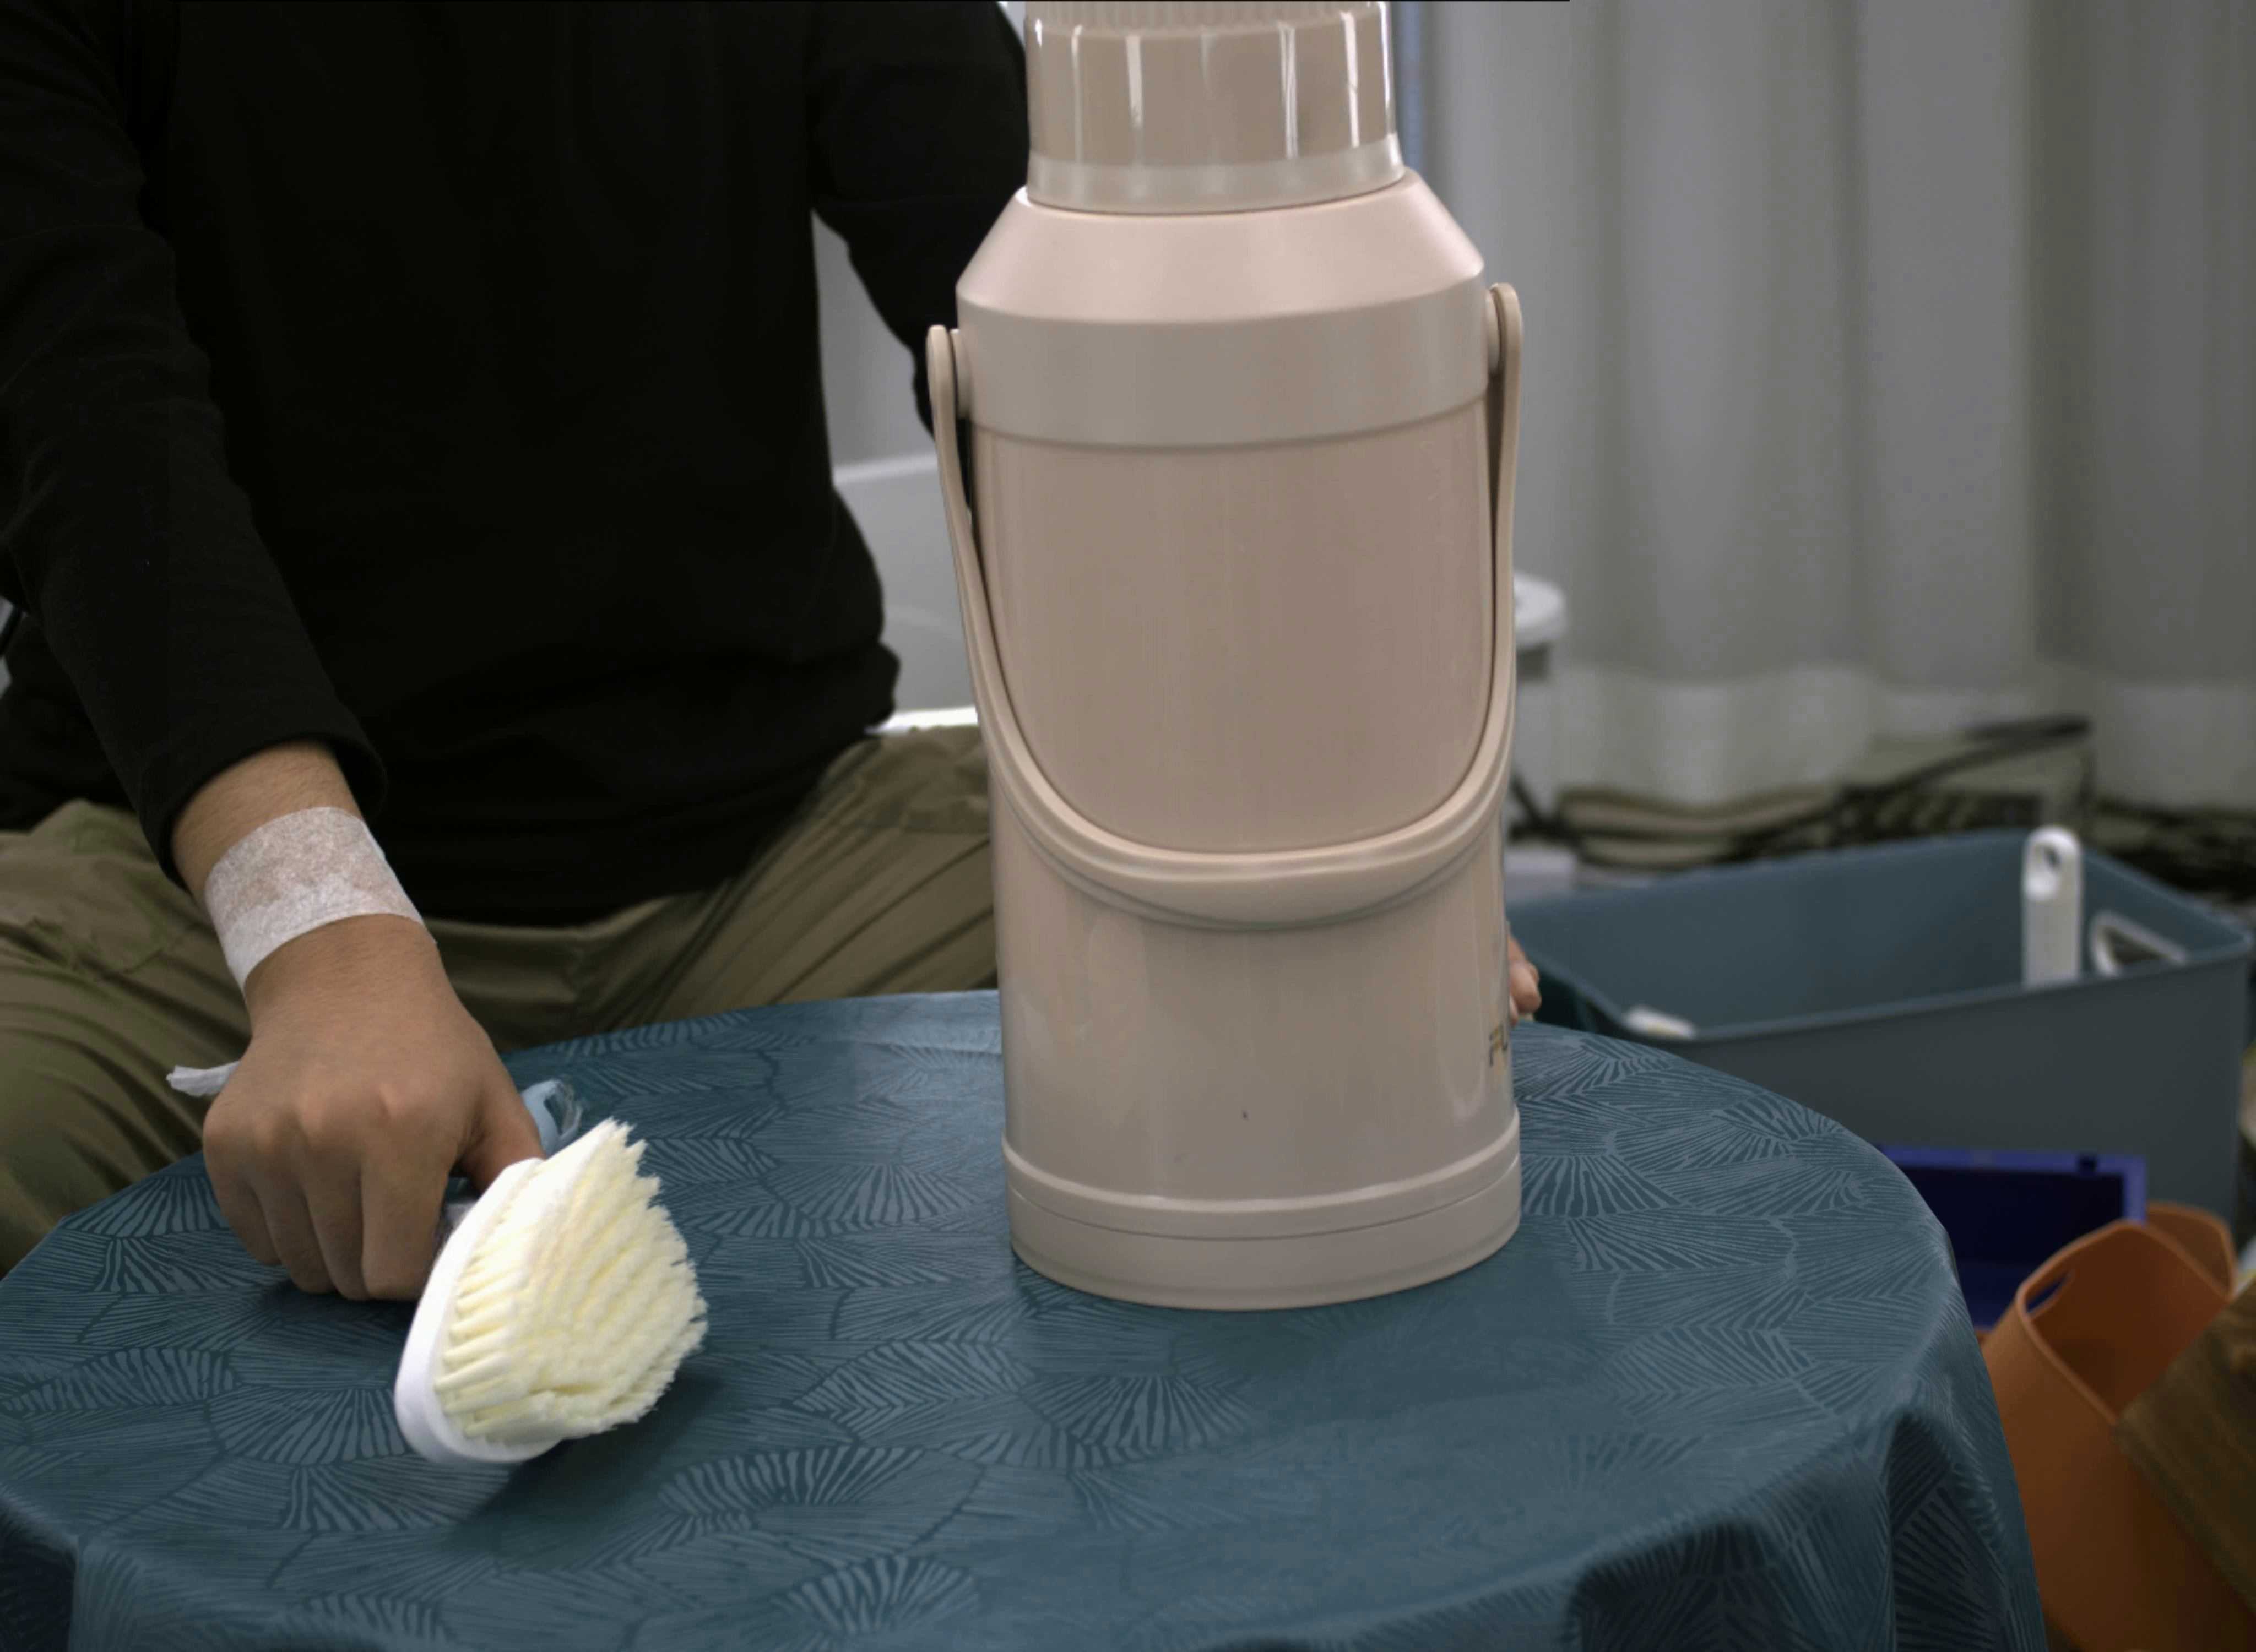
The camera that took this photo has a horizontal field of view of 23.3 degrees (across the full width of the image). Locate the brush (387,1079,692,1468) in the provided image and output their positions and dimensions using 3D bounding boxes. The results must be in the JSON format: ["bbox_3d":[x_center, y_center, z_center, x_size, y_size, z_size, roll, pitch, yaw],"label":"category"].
[{"bbox_3d":[-0.162,0.112,1.623,0.084,0.083,0.327,17,12,-4],"label":"brush"}]

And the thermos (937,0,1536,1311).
[{"bbox_3d":[0.035,-0.073,1.646,0.174,0.405,0.208,-6,14,-7],"label":"thermos"}]
